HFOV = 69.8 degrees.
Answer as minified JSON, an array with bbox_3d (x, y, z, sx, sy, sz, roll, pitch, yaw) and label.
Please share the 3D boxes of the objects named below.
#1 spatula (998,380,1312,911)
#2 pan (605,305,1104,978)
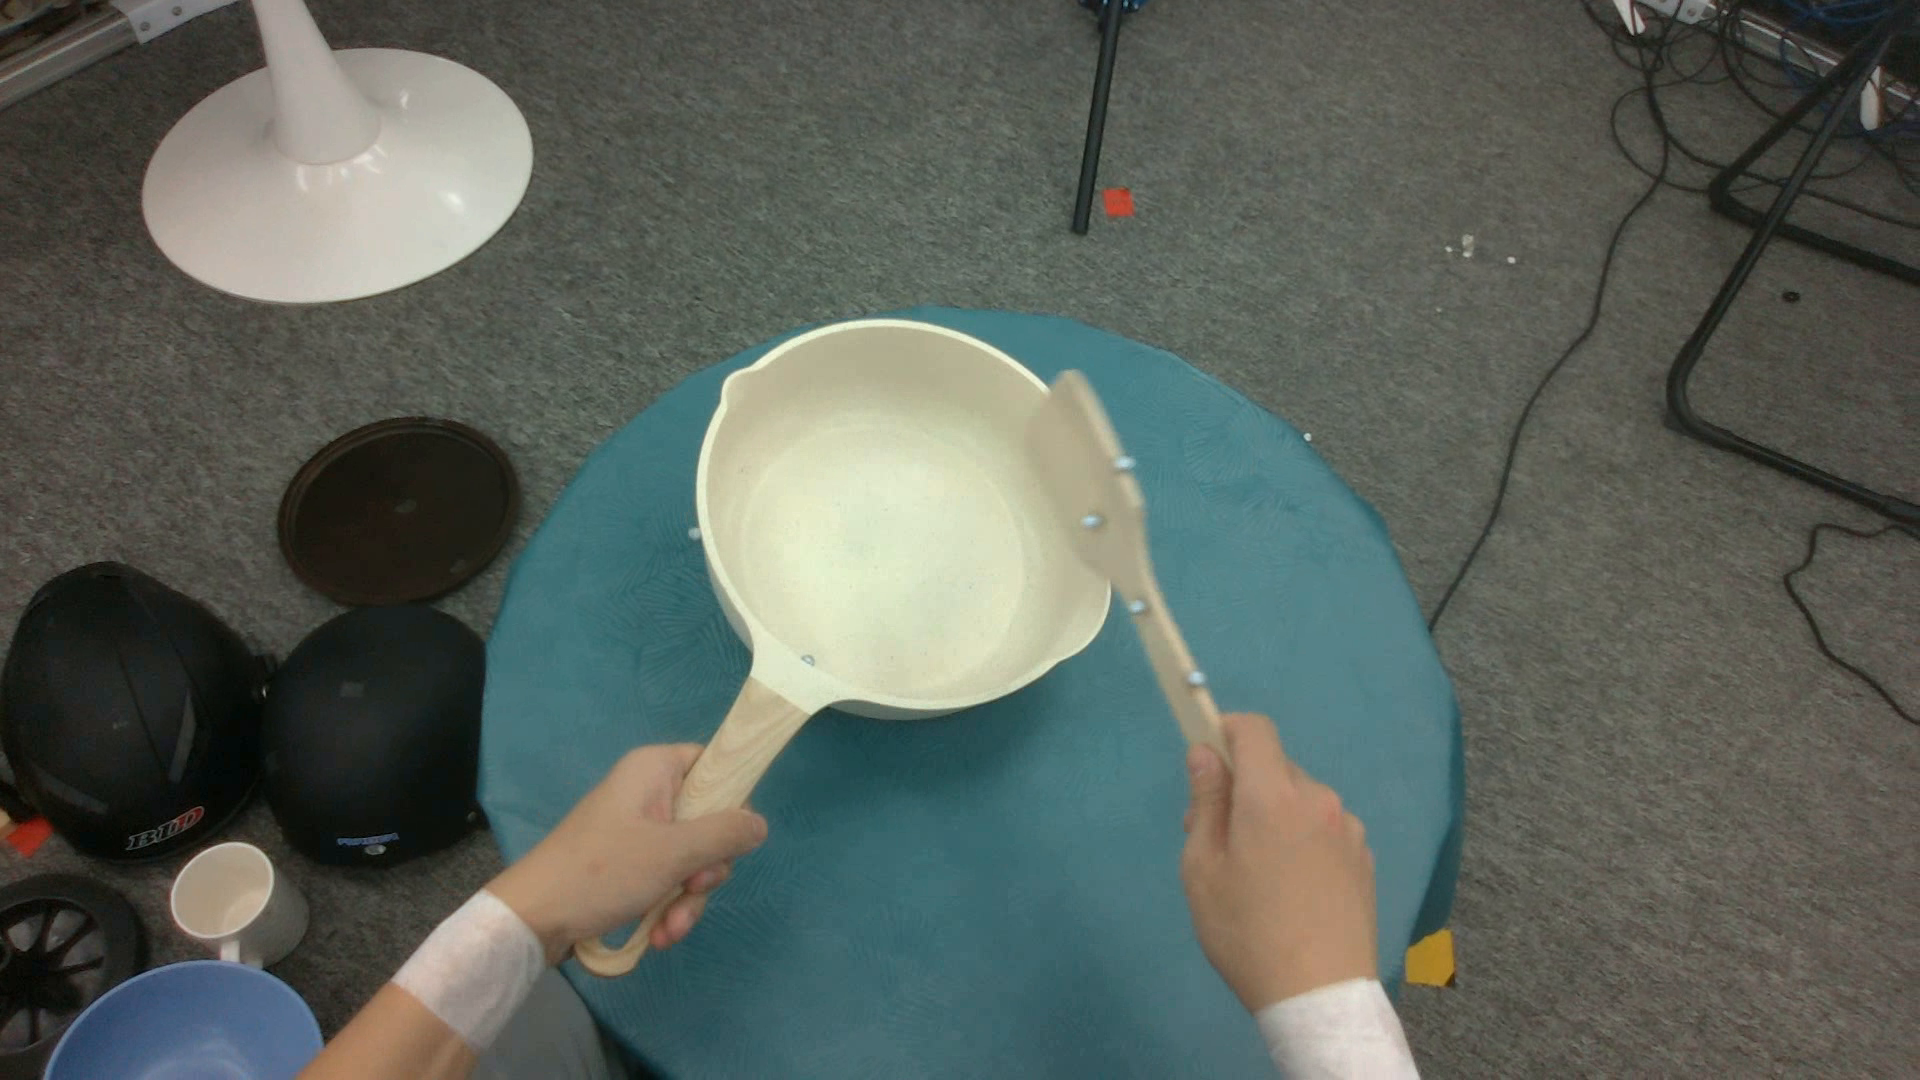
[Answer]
[{"bbox_3d":[0.097,0.050,0.695,0.011,0.072,0.293,-18,69,-26],"label":"spatula"},{"bbox_3d":[-0.081,0.054,0.798,0.263,0.101,0.437,32,62,-4],"label":"pan"}]
